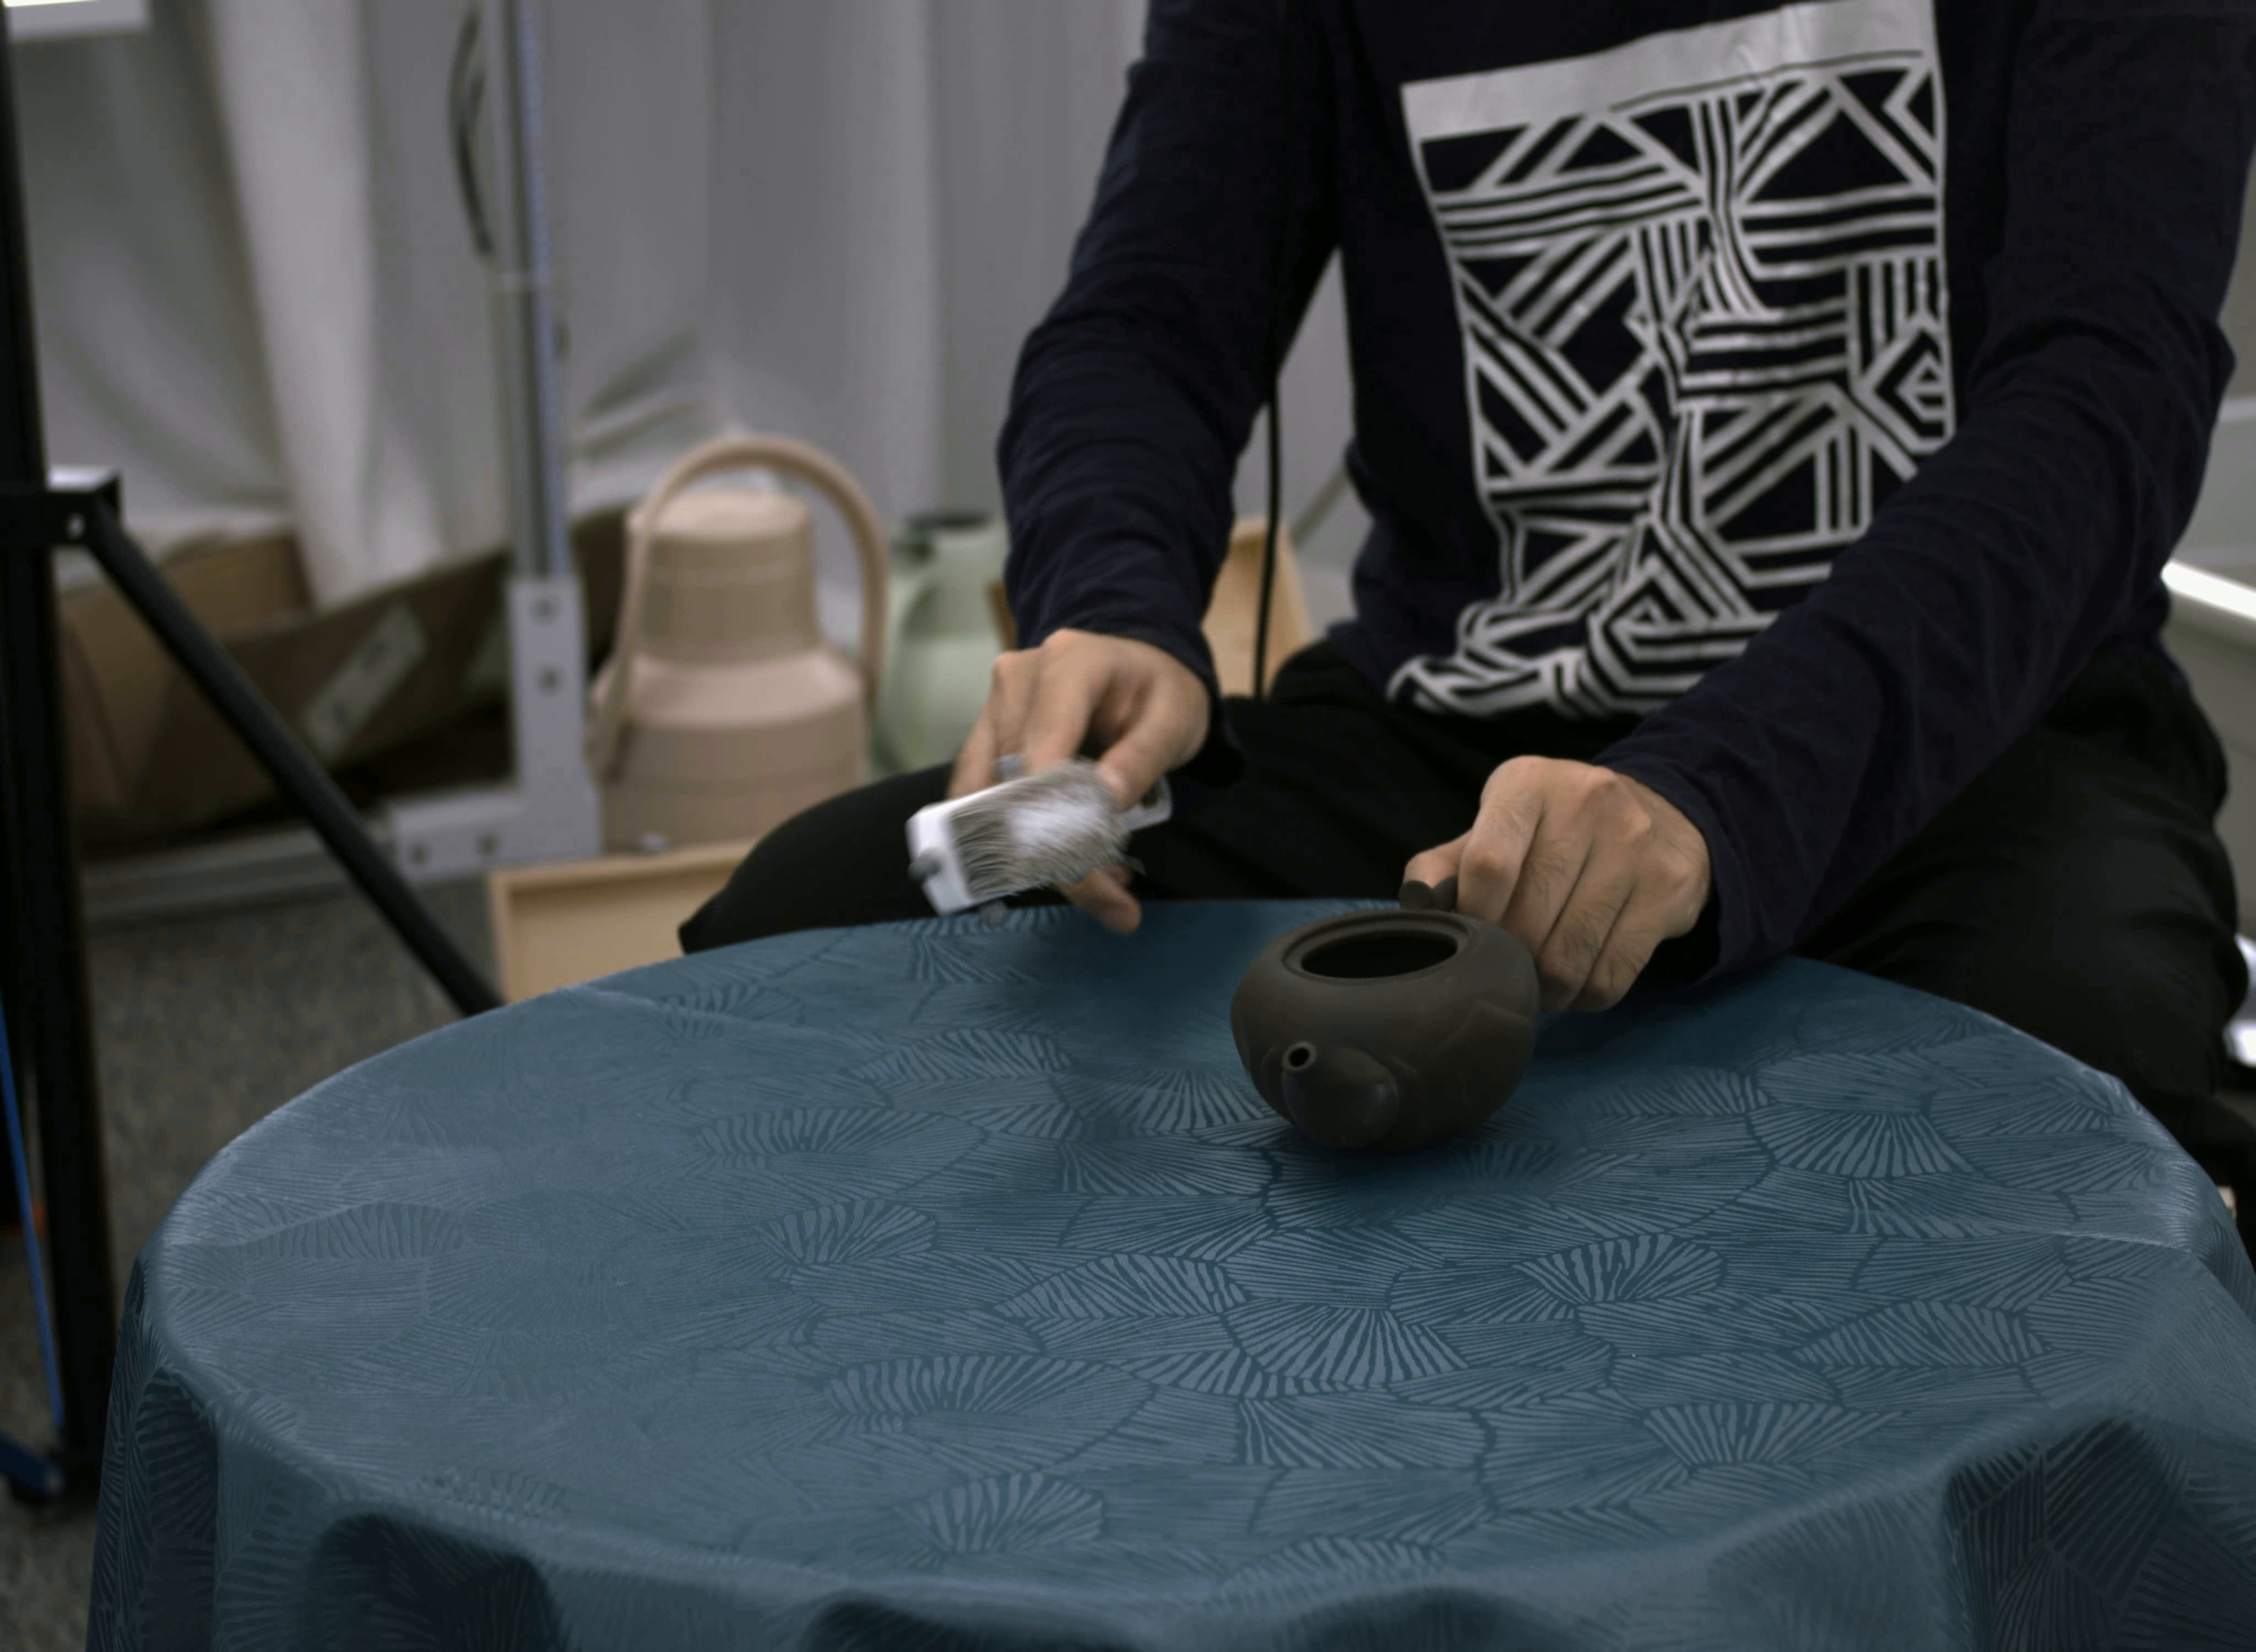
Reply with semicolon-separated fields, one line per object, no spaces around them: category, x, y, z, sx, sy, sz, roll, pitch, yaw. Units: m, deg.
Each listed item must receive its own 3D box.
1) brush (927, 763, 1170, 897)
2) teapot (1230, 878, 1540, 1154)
brush;-0.006;-0.002;1.707;0.050;0.034;0.240;-12;-2;17
teapot;0.079;0.059;1.597;0.094;0.064;0.152;3;23;25
